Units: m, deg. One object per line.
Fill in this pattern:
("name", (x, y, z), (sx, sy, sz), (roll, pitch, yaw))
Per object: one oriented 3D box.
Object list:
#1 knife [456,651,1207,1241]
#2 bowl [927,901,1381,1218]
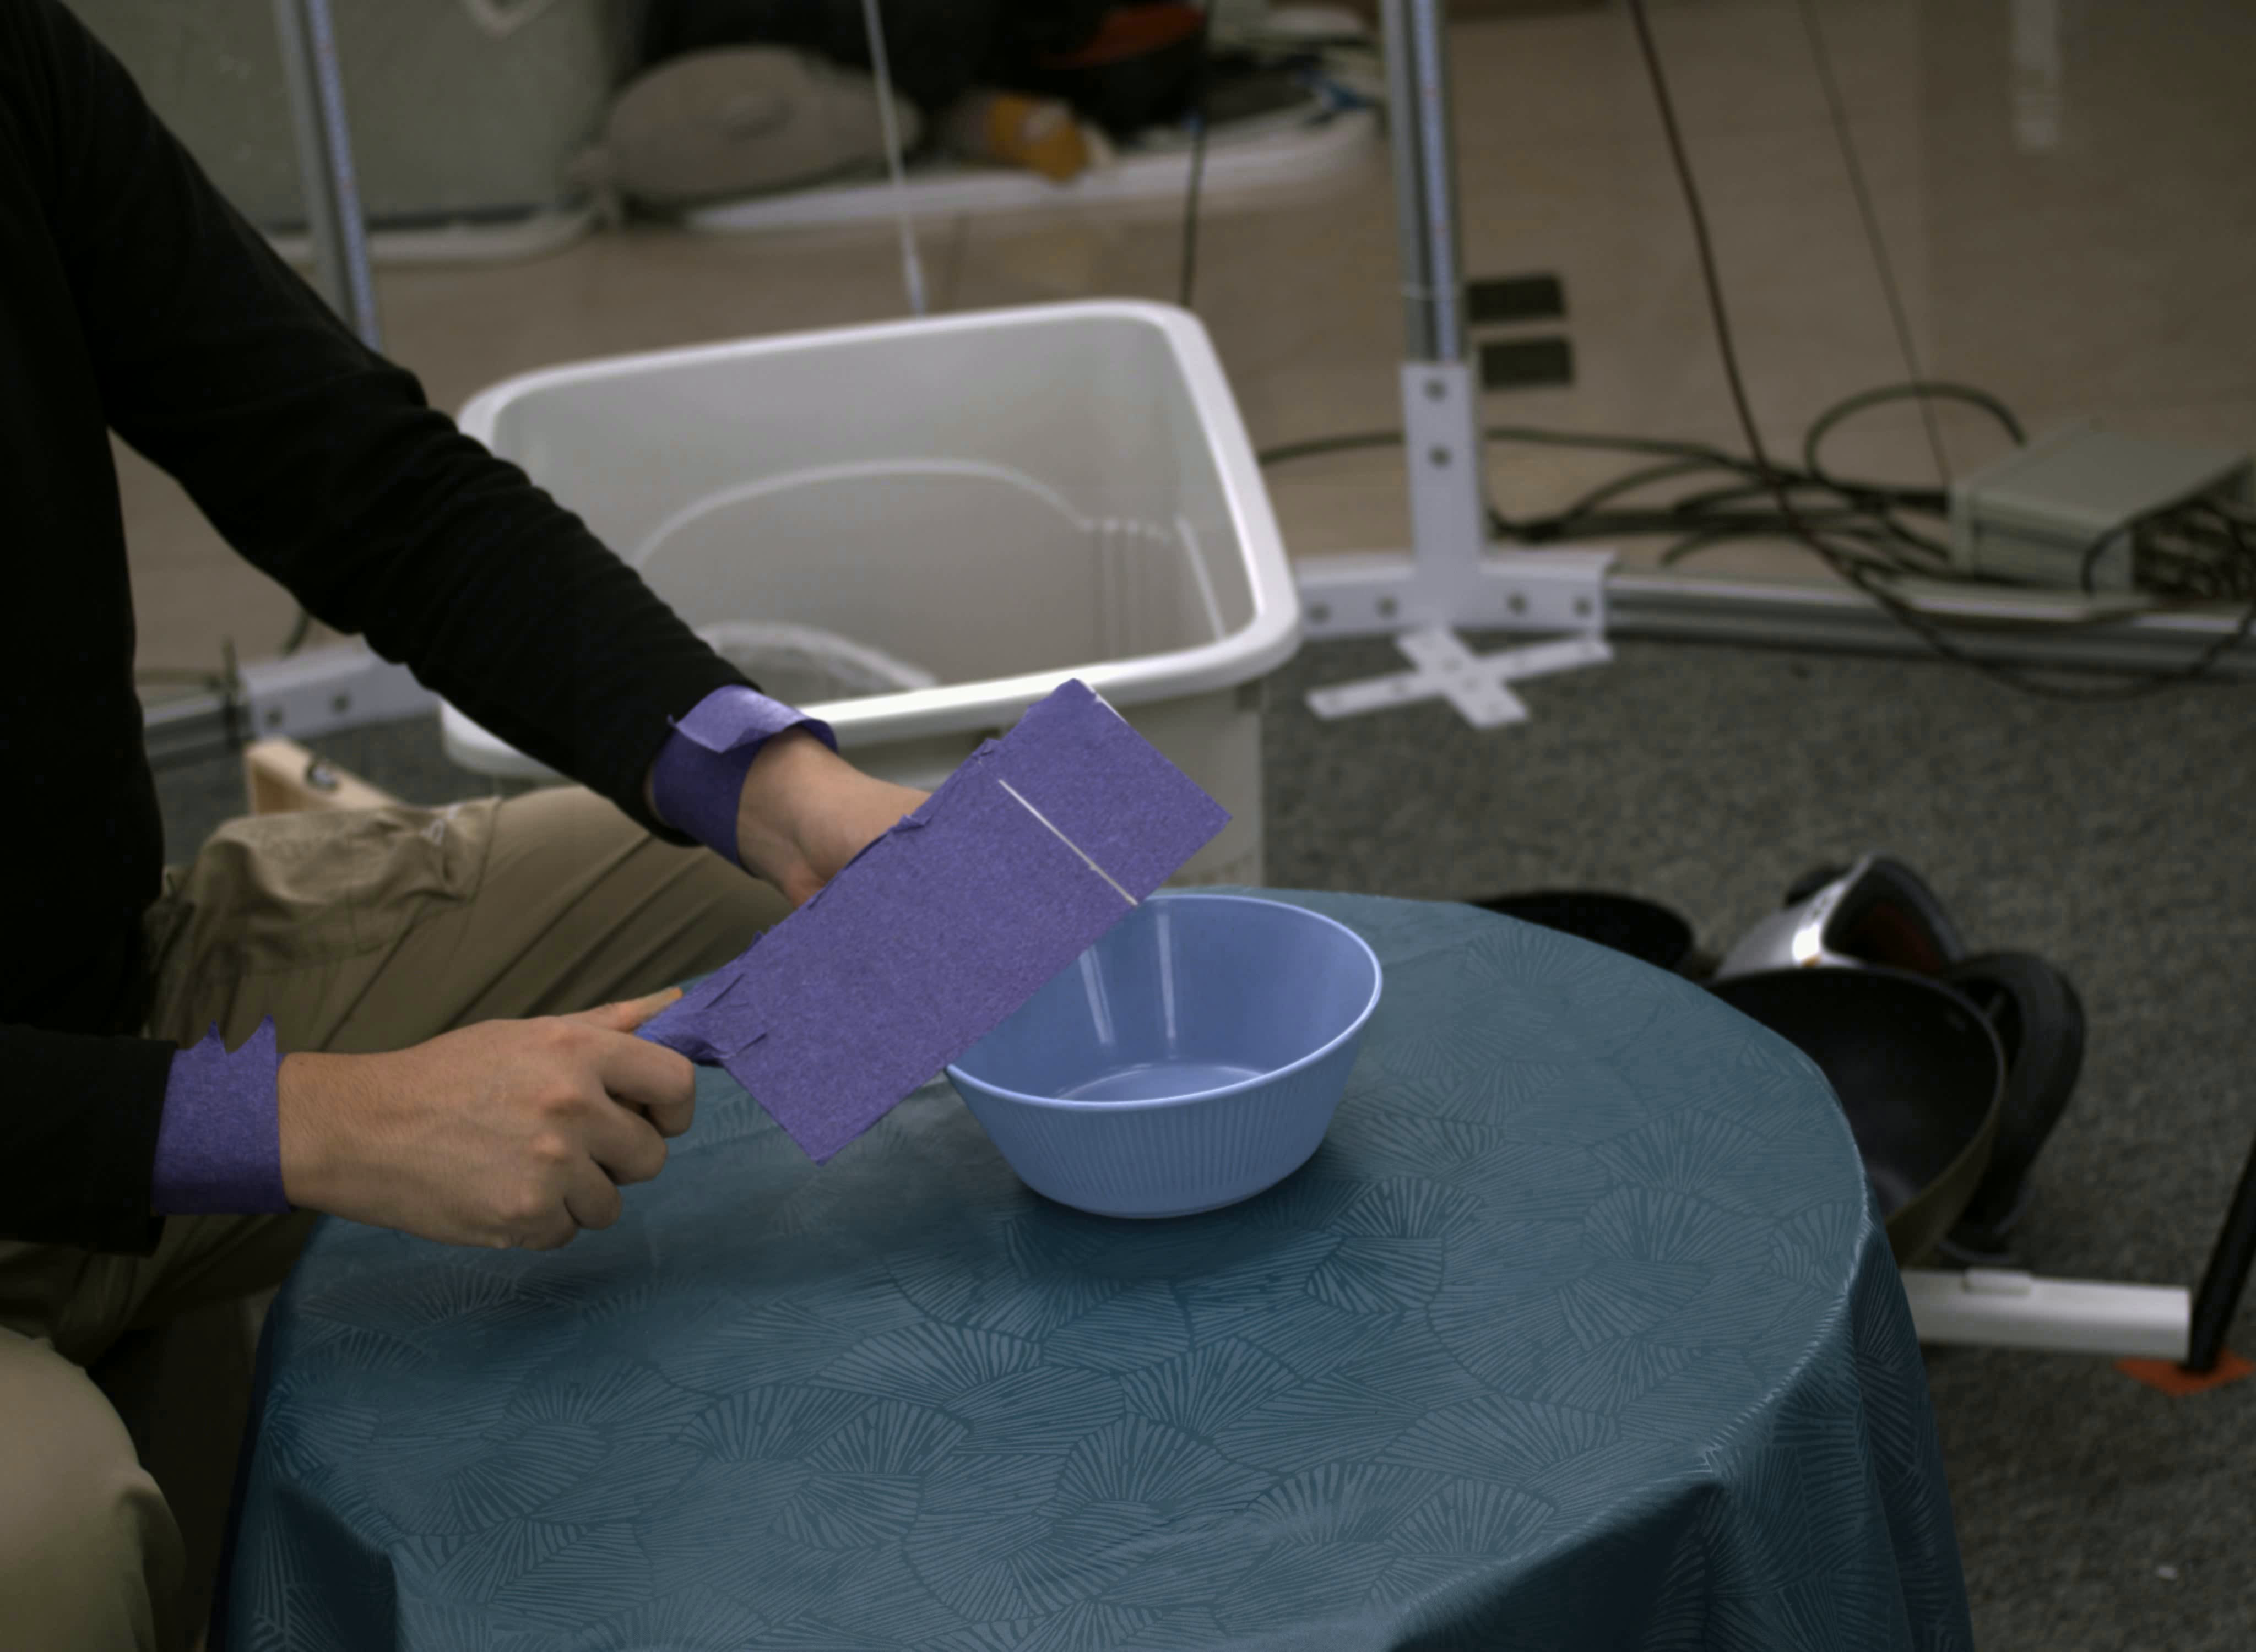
("knife", (-0.107, 0.061, 2.125), (0.314, 0.032, 0.103), (-42, 66, -11))
("bowl", (0.012, 0.094, 2.158), (0.176, 0.071, 0.173), (-6, 24, 3))
